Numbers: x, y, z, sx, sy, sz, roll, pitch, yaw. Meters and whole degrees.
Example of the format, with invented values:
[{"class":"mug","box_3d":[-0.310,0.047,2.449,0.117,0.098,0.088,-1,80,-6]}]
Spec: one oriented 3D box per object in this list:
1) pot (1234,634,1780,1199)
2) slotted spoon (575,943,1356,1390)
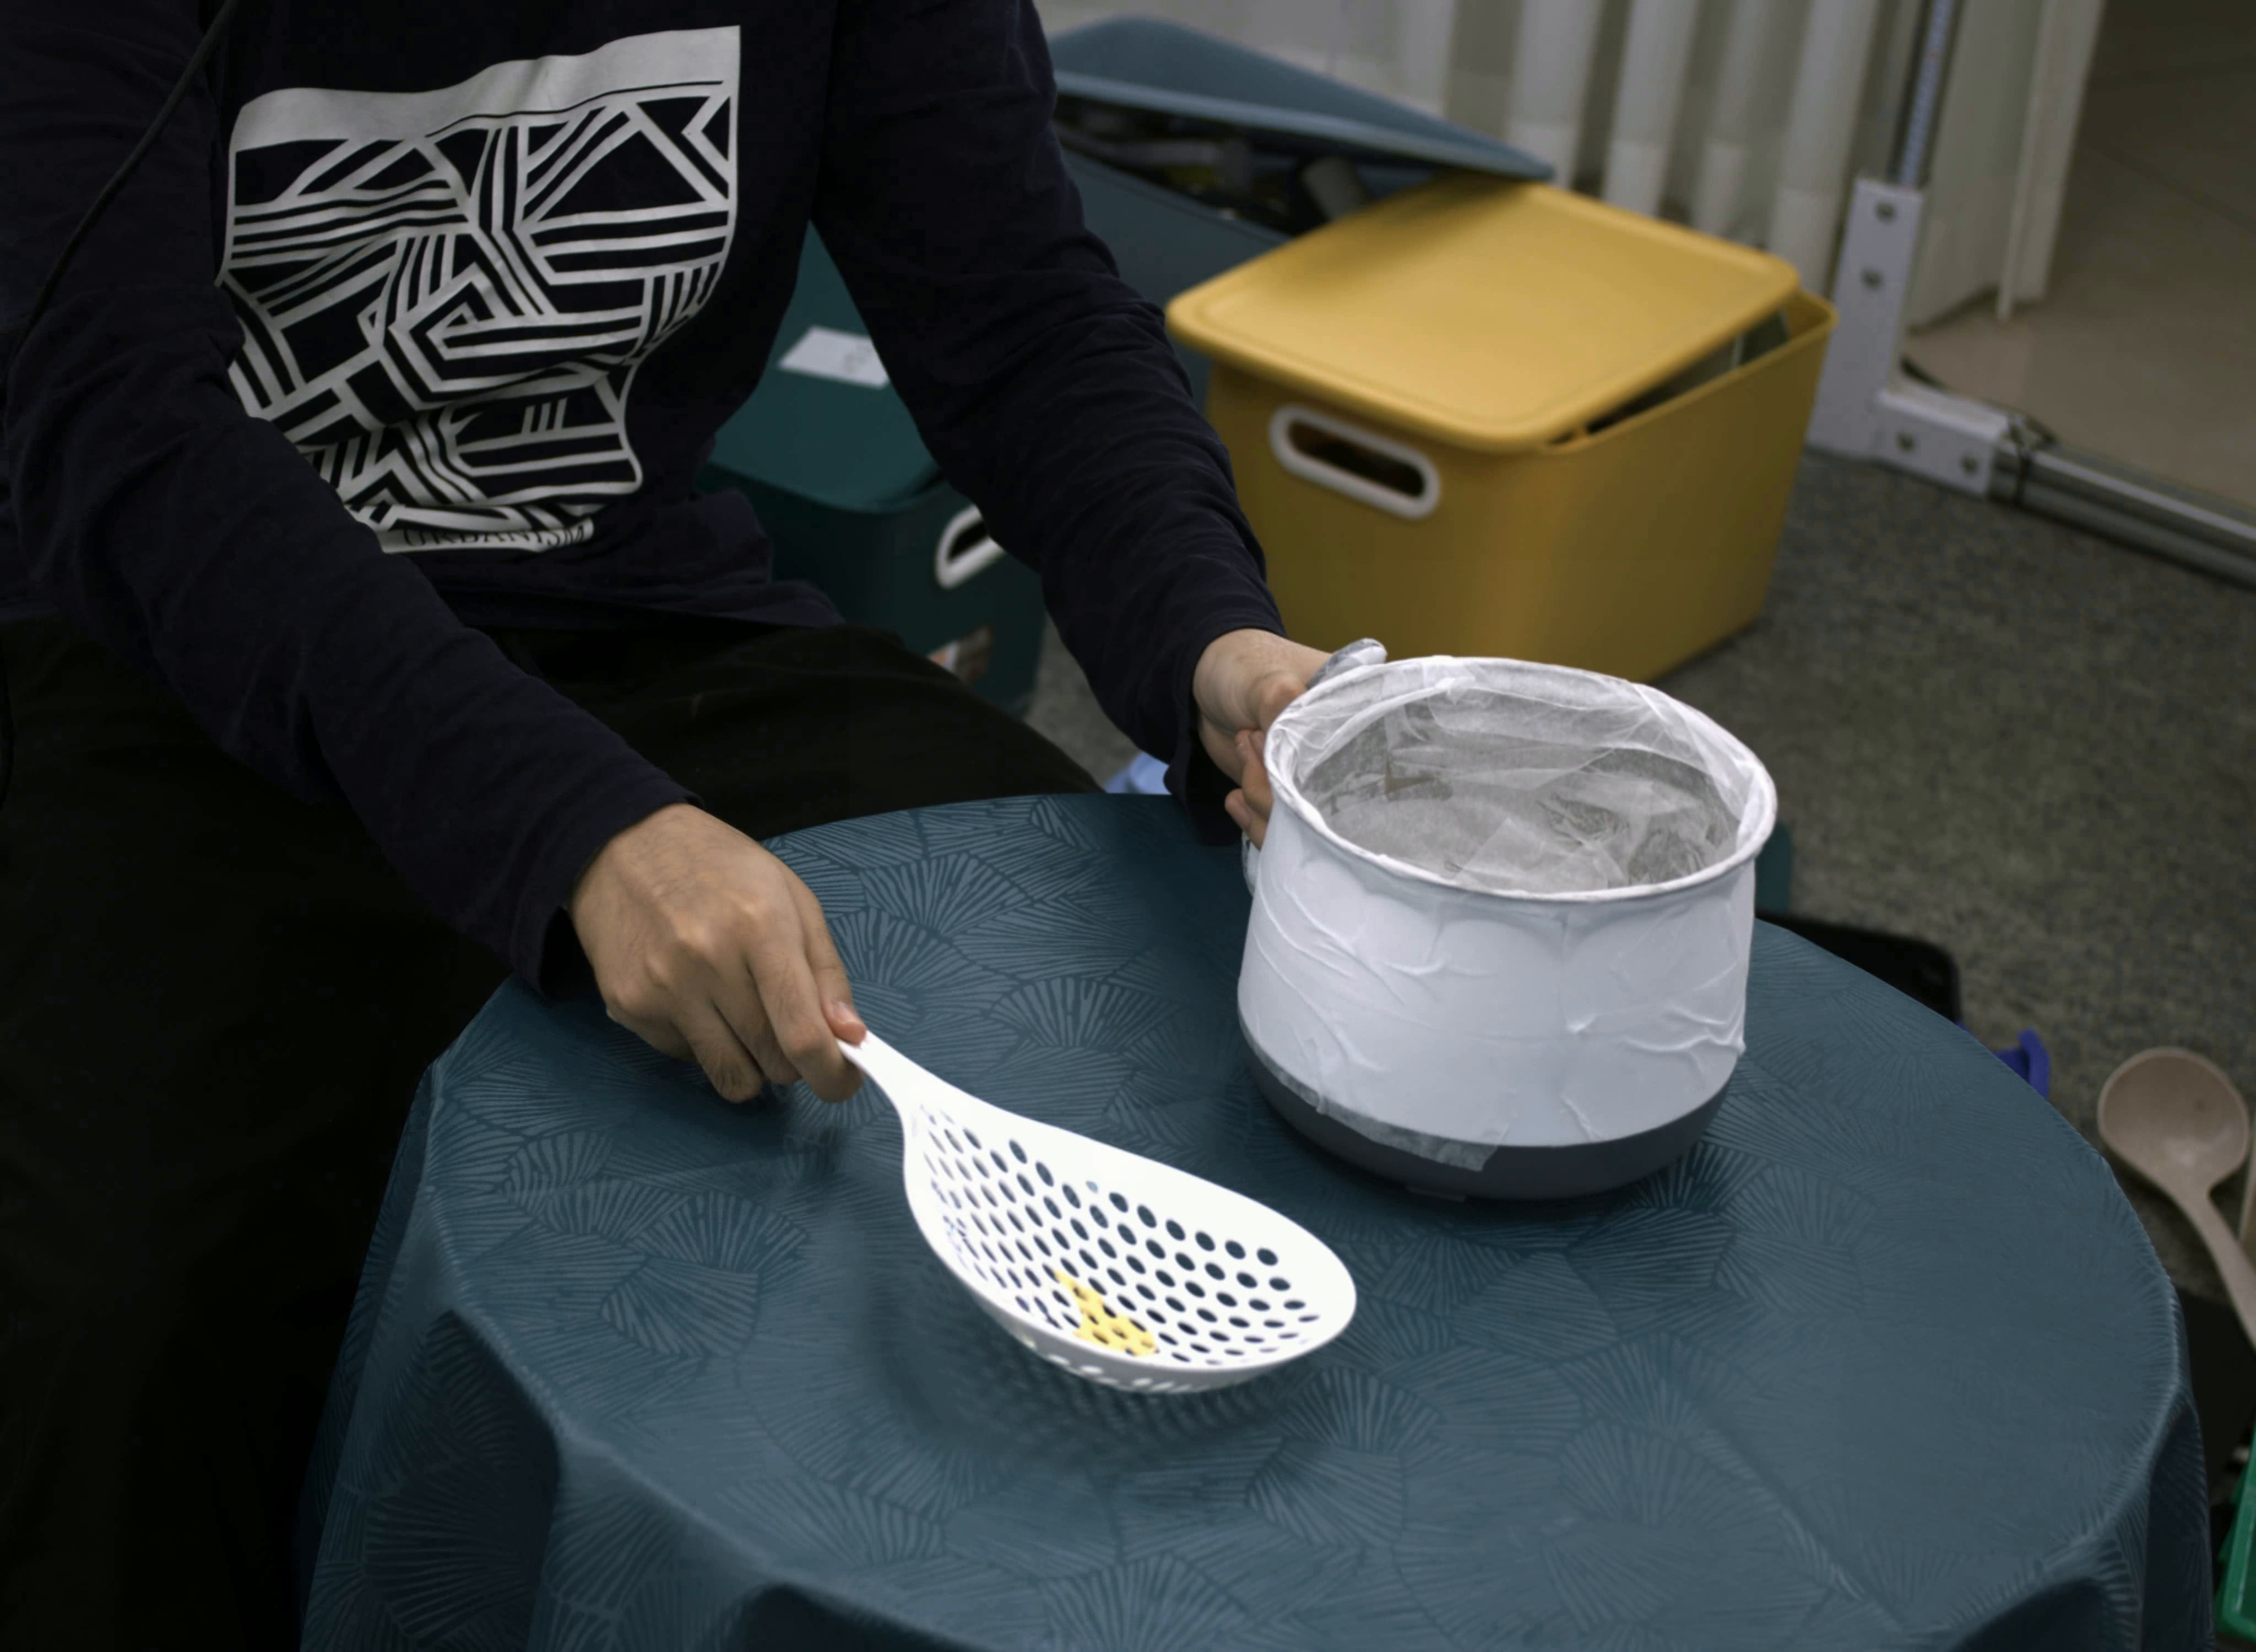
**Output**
[{"class":"pot","box_3d":[0.114,0.025,1.871,0.177,0.136,0.236,-10,31,-30]},{"class":"slotted spoon","box_3d":[-0.070,0.102,1.772,0.136,0.050,0.351,-10,34,-41]}]
